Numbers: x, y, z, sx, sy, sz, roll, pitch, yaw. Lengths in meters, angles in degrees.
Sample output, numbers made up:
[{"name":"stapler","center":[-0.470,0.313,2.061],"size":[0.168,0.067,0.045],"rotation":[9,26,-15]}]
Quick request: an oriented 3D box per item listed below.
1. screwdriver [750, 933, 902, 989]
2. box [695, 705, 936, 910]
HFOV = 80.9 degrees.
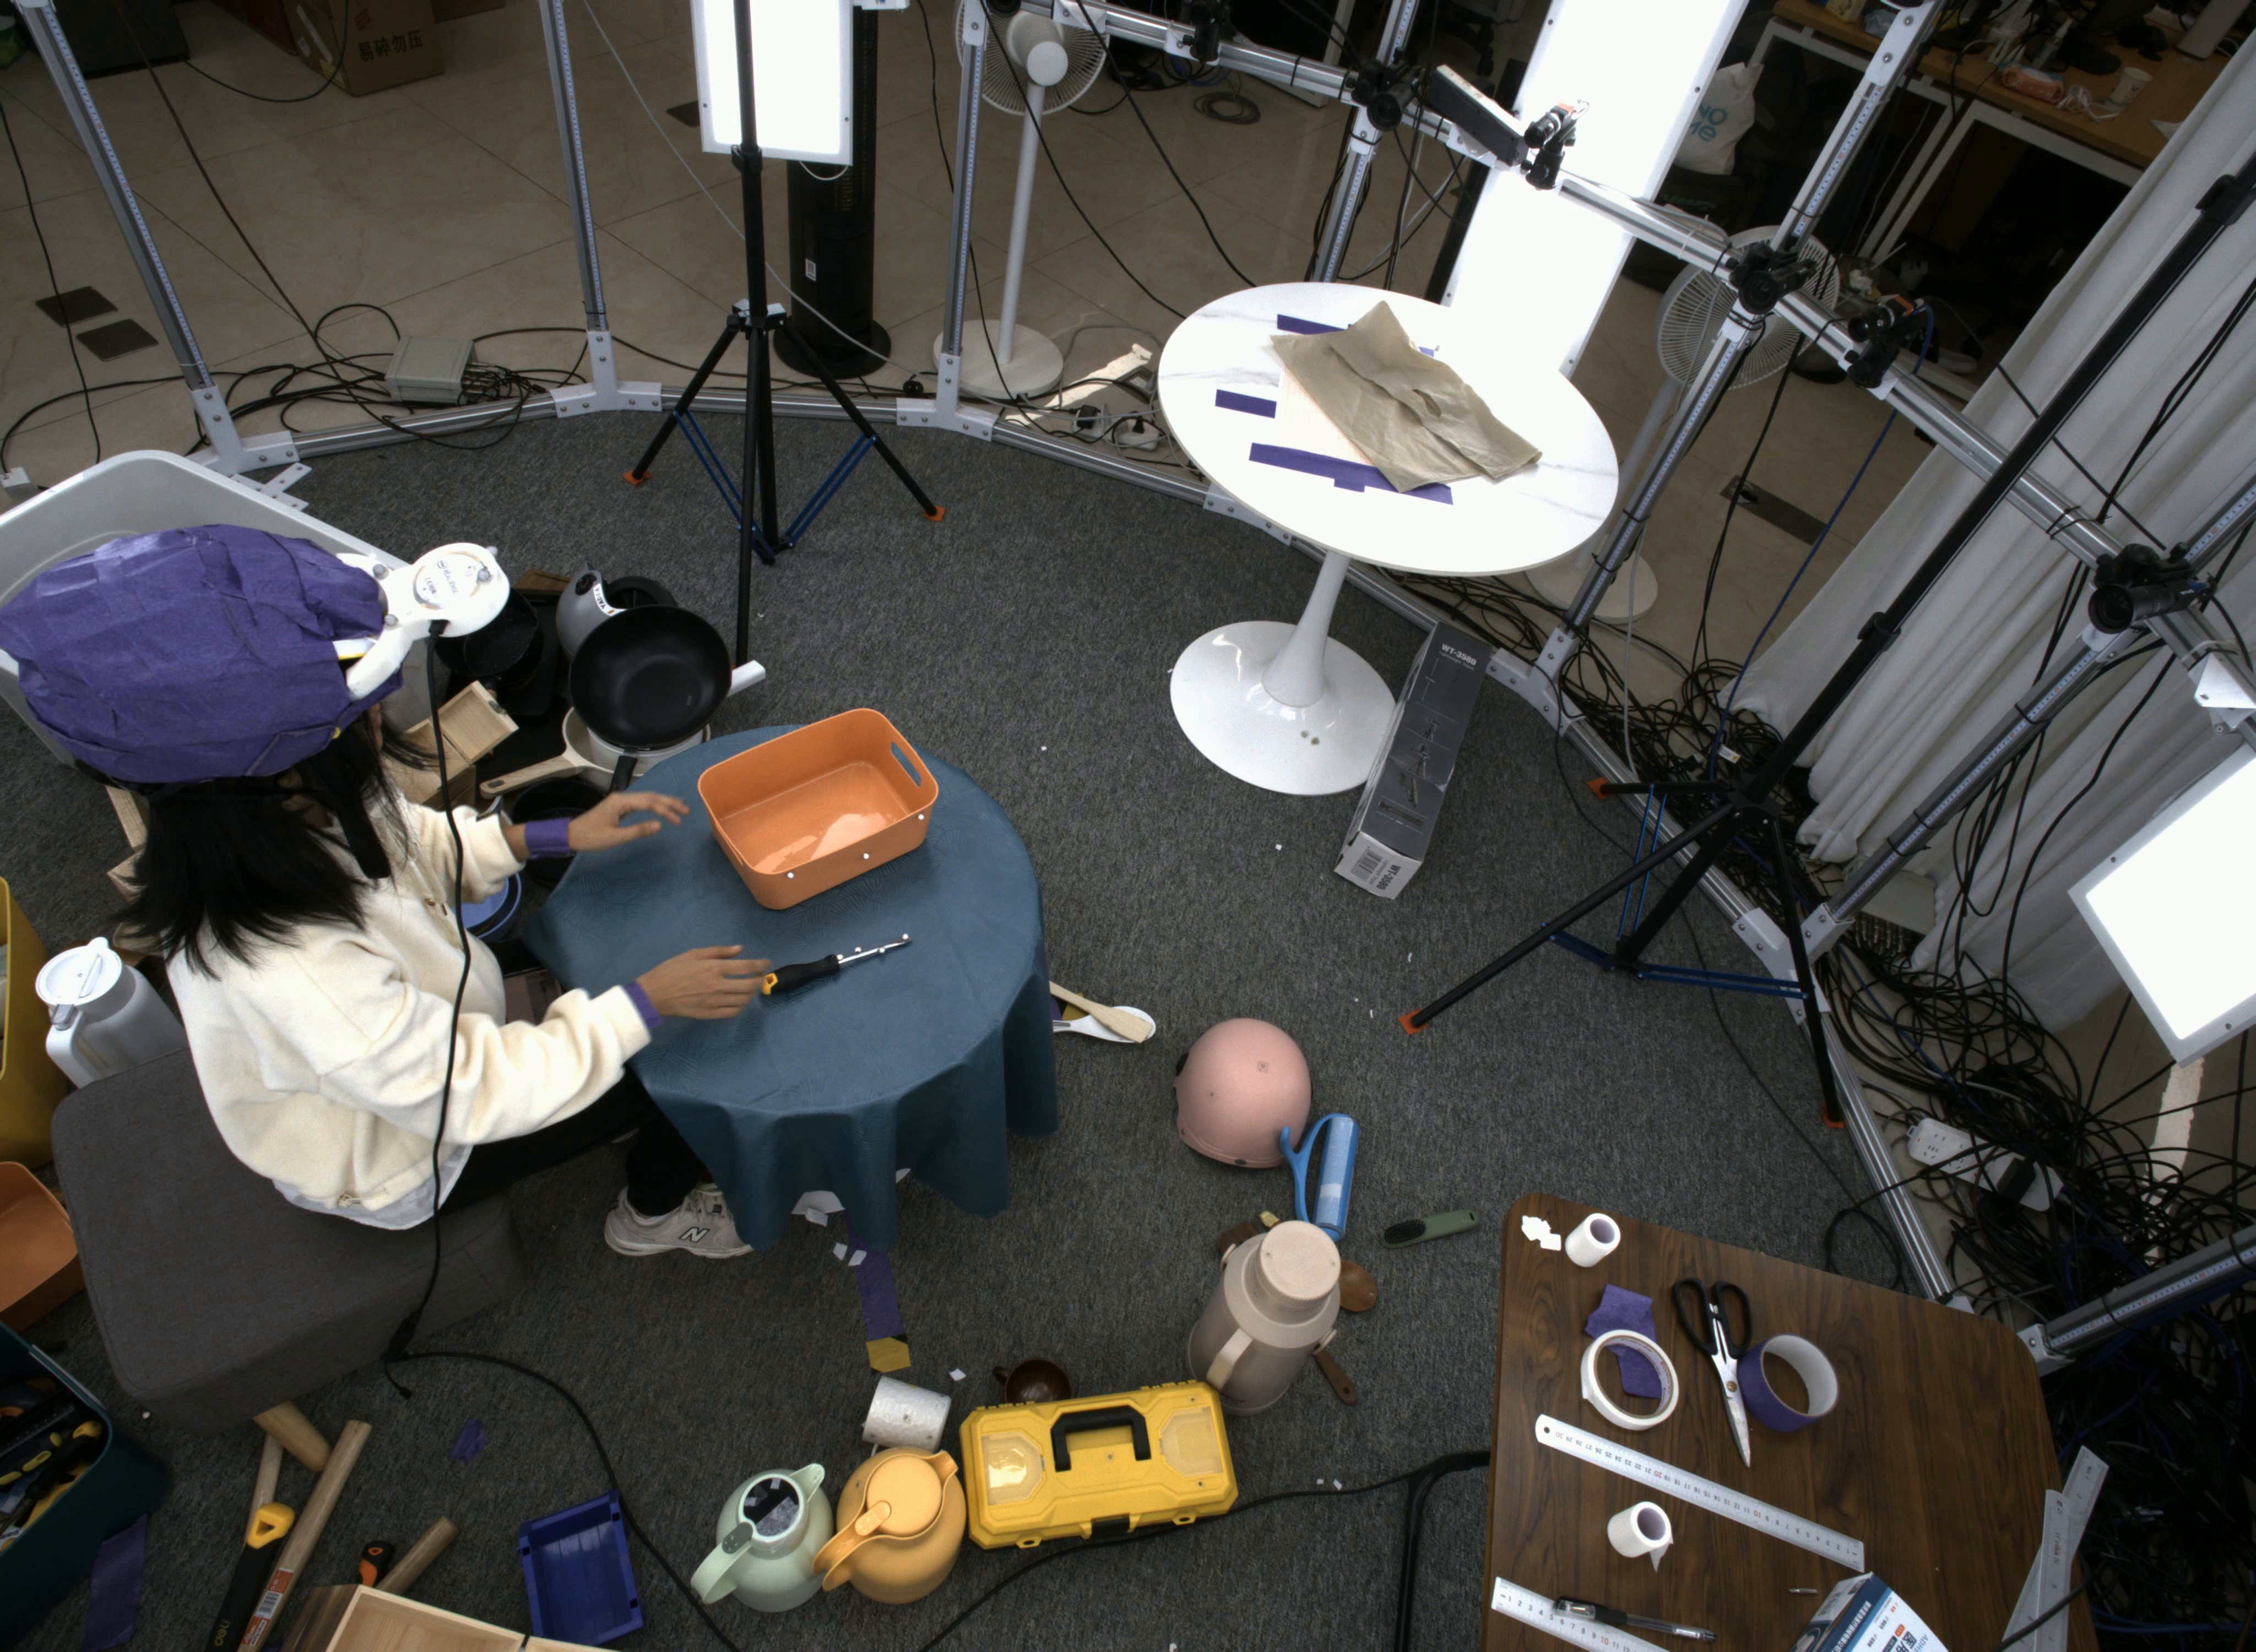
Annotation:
[{"name":"screwdriver","center":[-0.368,0.156,1.587],"size":[0.199,0.032,0.030],"rotation":[-18,58,-36]},{"name":"box","center":[-0.402,-0.024,1.675],"size":[0.274,0.104,0.195],"rotation":[-28,65,-30]}]
